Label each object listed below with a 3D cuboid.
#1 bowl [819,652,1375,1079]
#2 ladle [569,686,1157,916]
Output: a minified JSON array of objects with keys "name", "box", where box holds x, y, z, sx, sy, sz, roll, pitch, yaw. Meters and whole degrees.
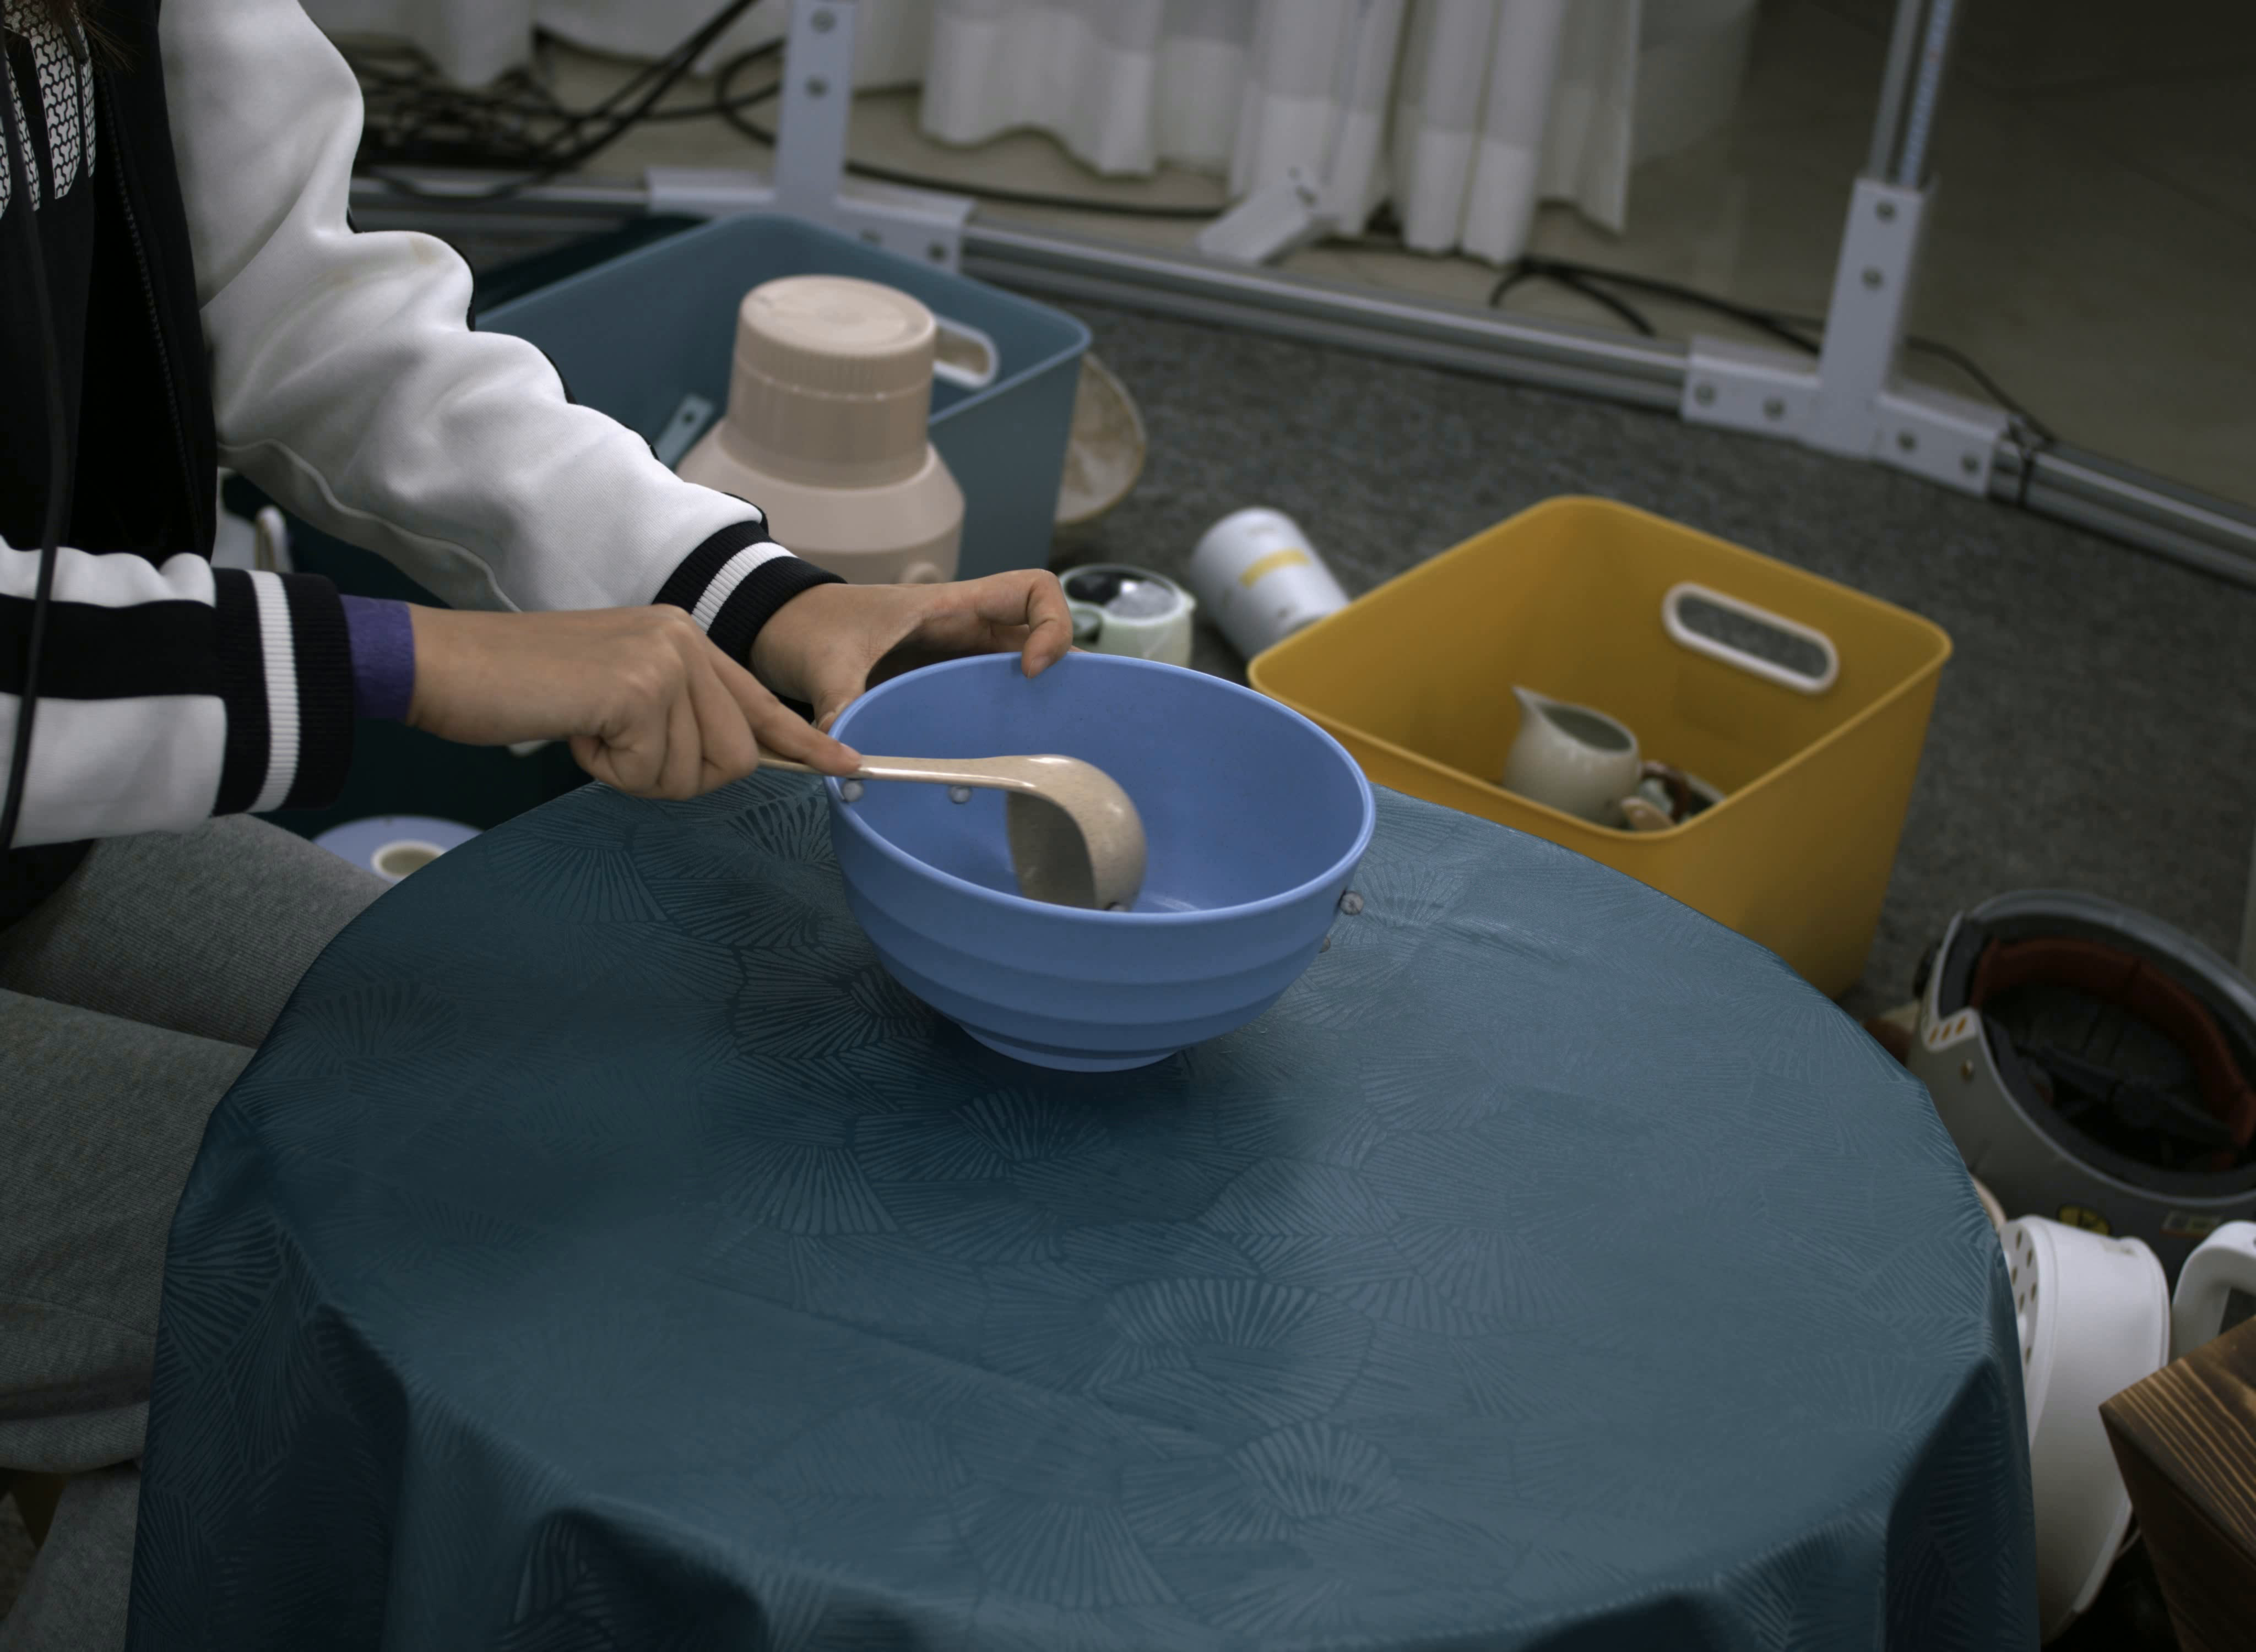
[{"name":"bowl","box":[-0.015,0.026,1.891,0.196,0.095,0.198,4,29,-3]},{"name":"ladle","box":[-0.100,0.000,1.850,0.252,0.073,0.073,8,32,-37]}]
